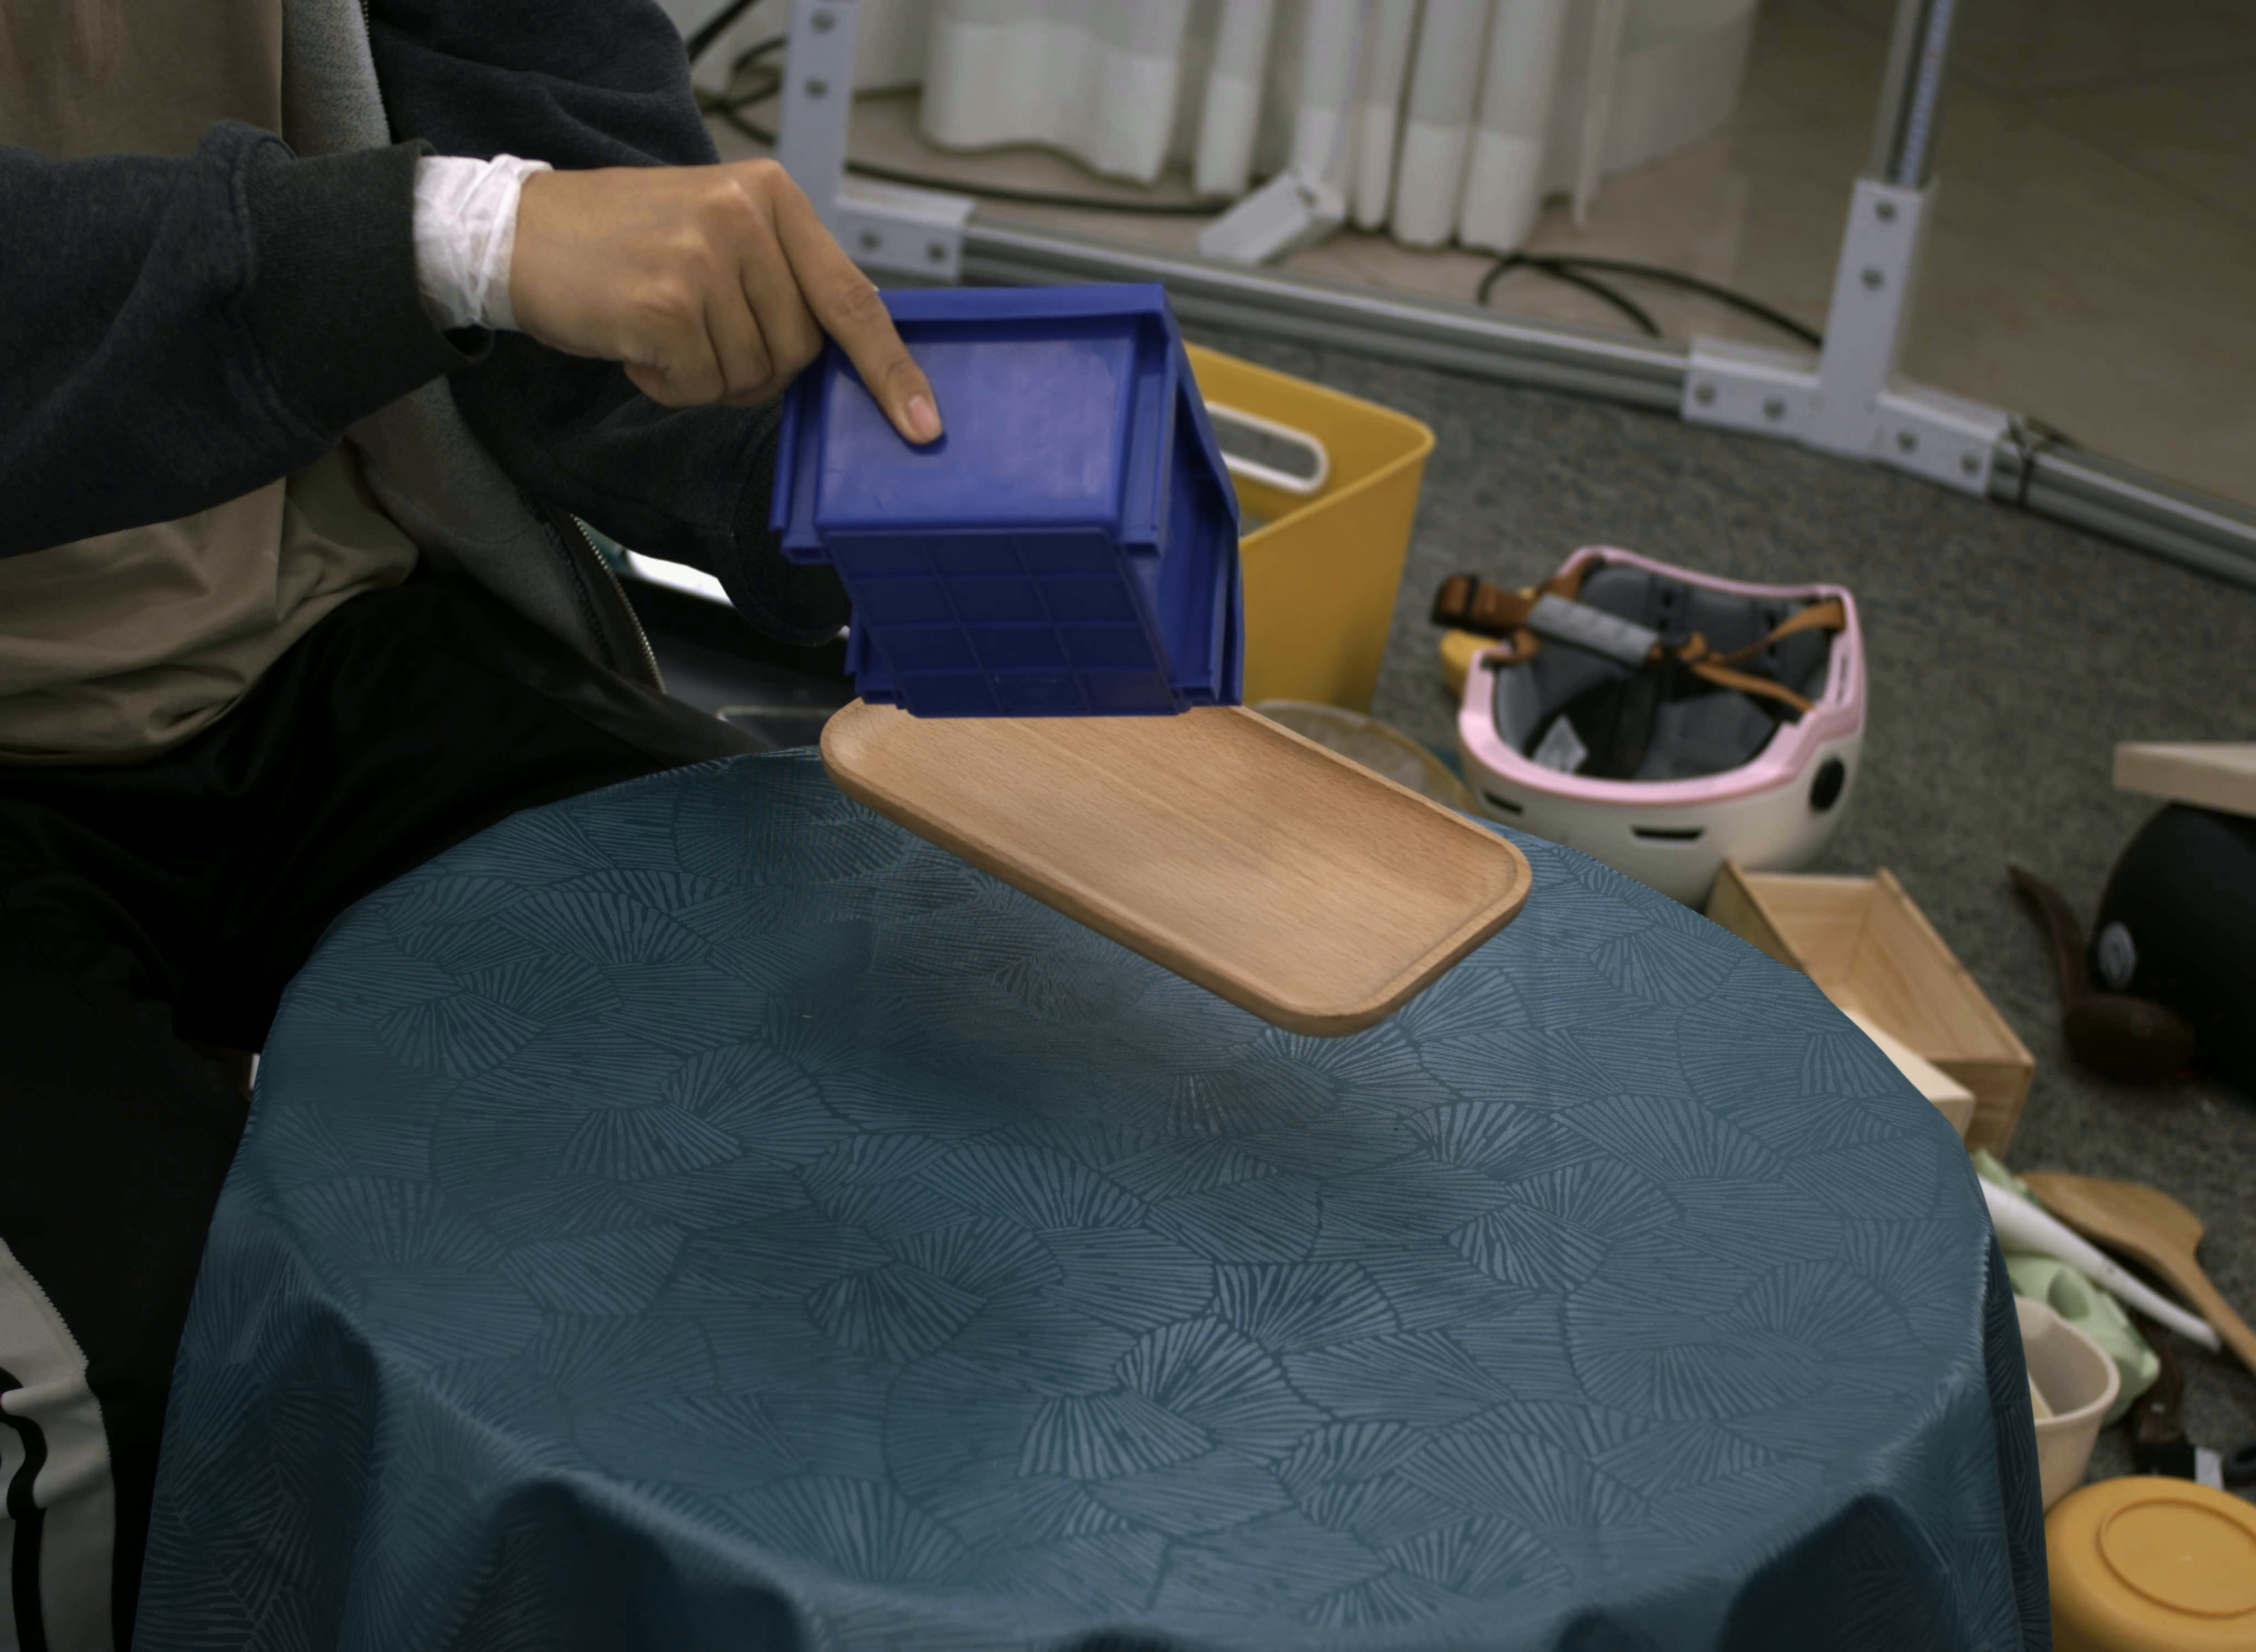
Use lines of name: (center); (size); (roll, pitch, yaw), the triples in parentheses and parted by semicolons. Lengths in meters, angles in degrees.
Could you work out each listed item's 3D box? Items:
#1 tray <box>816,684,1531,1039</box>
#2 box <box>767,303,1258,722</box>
tray: (0.014, -0.003, 1.859); (0.252, 0.023, 0.130); (27, 41, 32)
box: (-0.035, -0.094, 1.740); (0.124, 0.082, 0.178); (-2, -21, 14)
